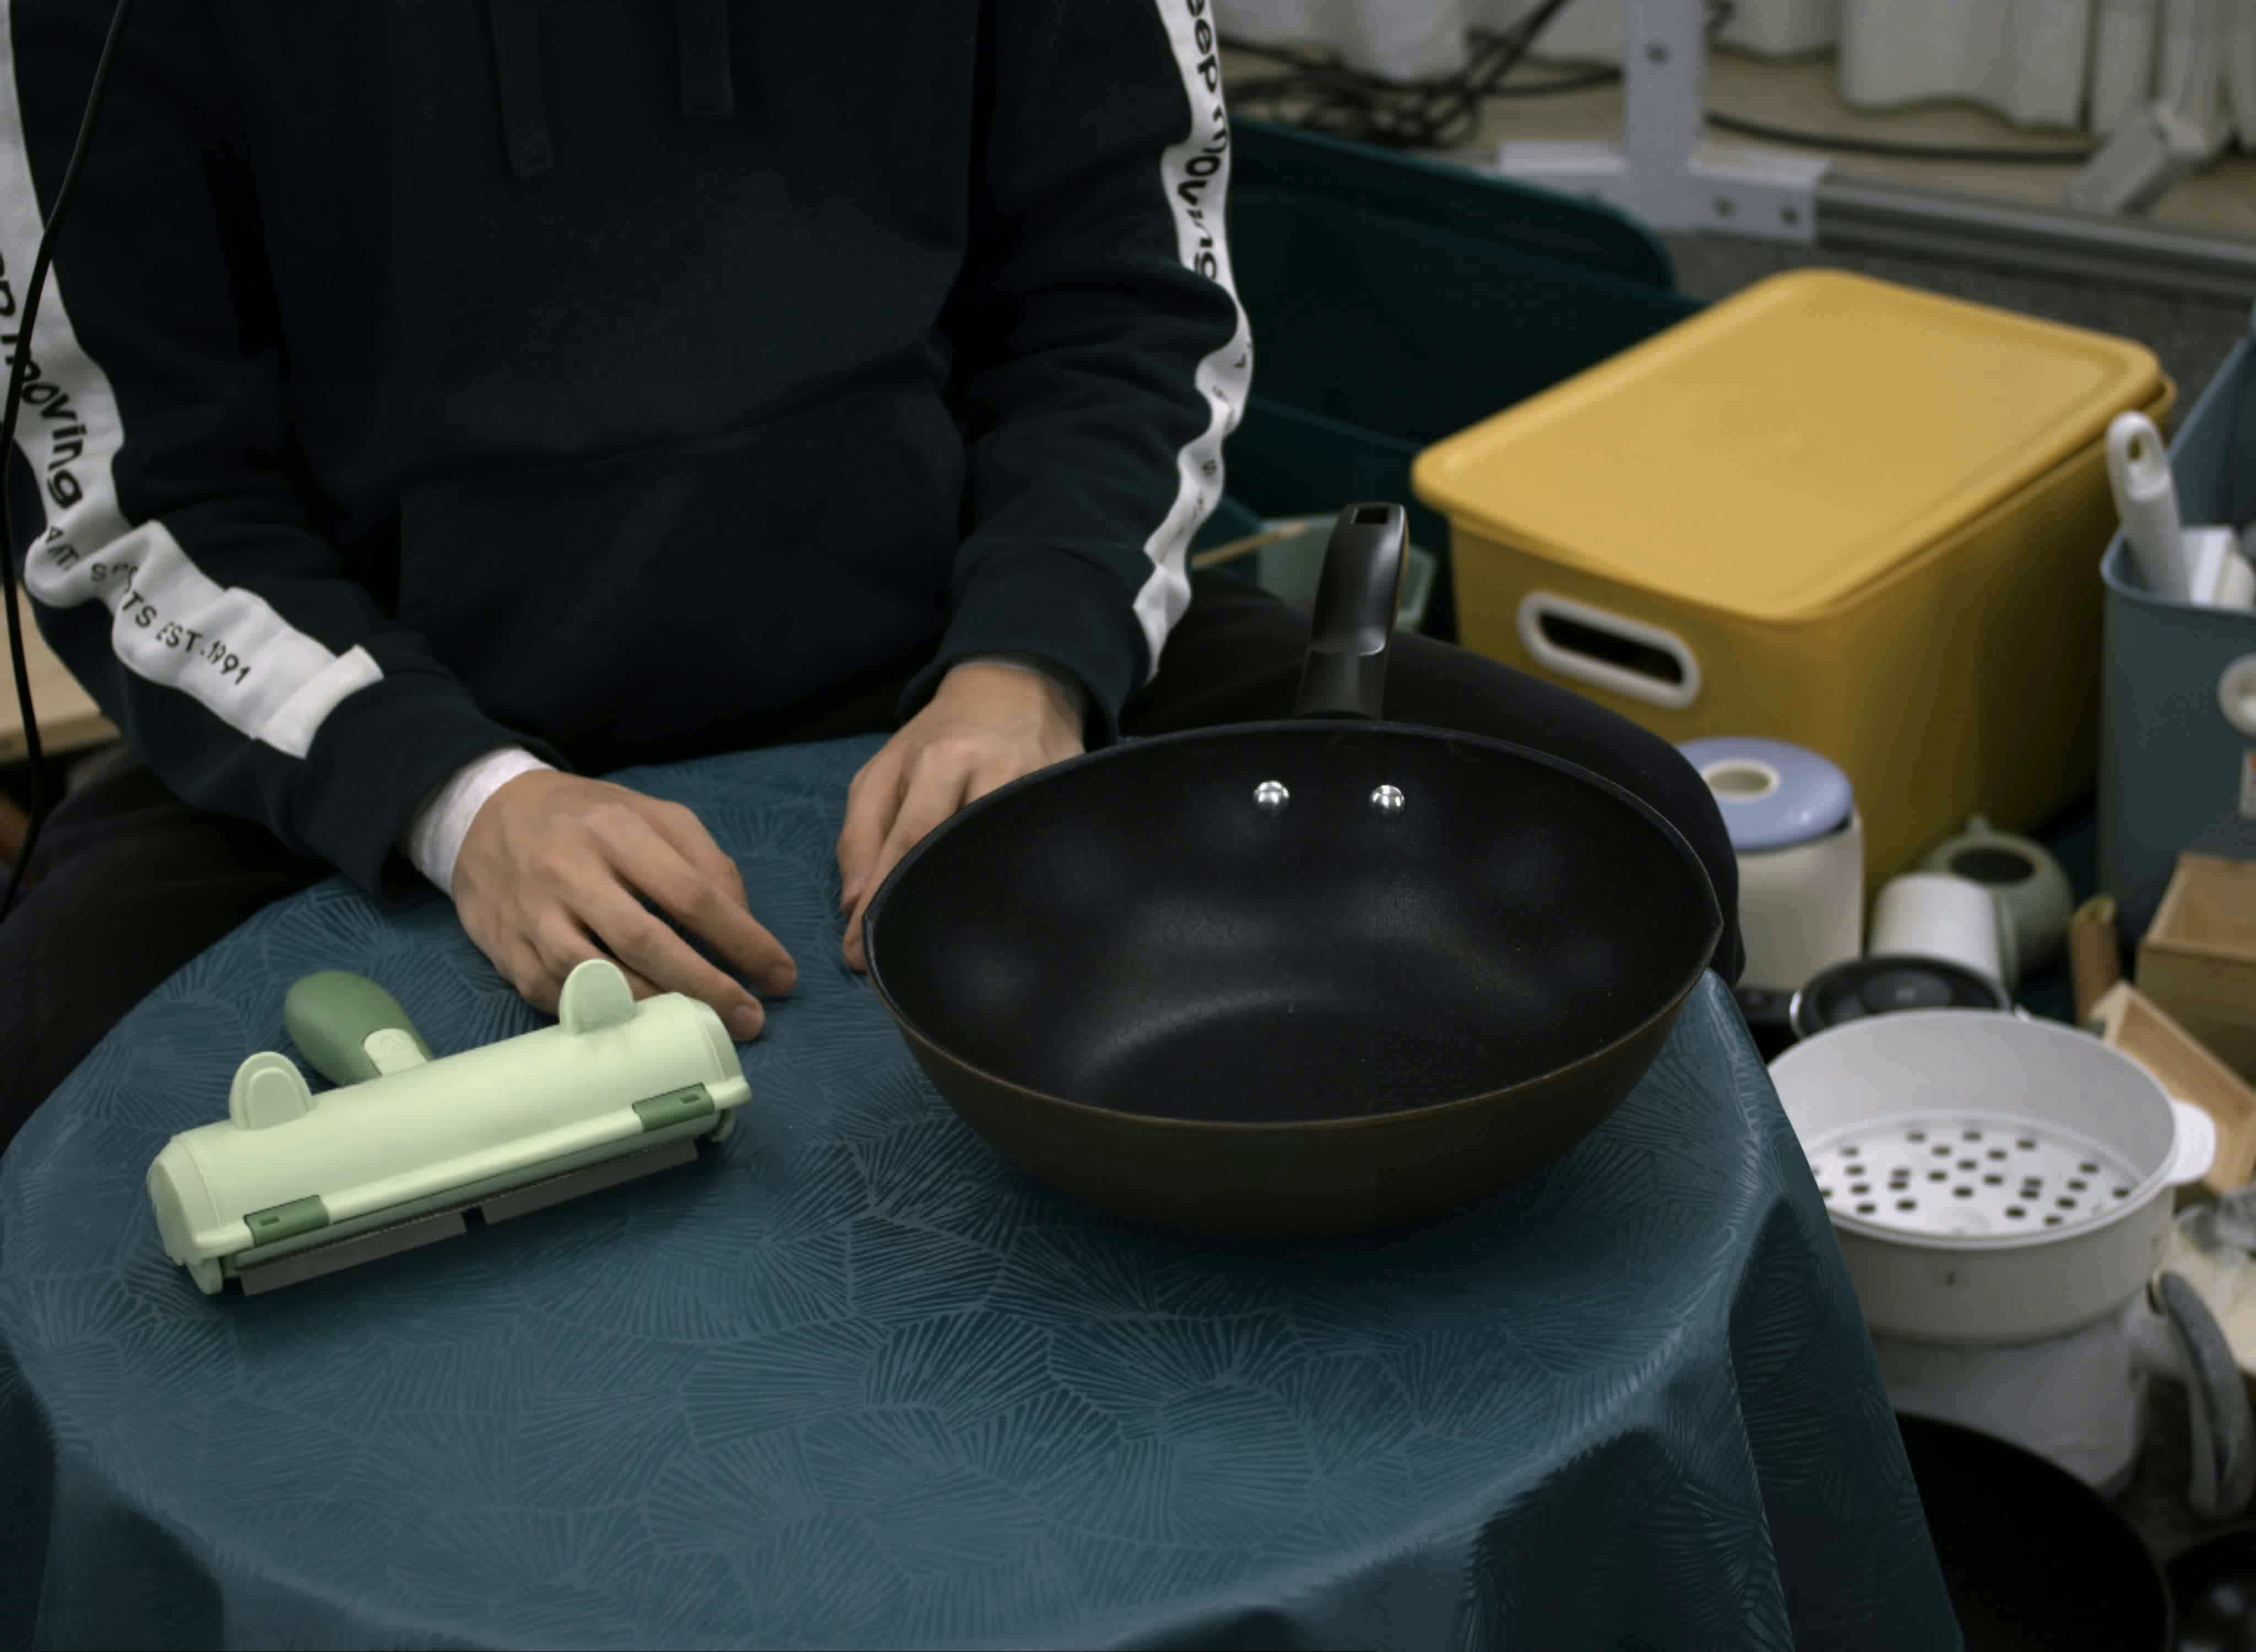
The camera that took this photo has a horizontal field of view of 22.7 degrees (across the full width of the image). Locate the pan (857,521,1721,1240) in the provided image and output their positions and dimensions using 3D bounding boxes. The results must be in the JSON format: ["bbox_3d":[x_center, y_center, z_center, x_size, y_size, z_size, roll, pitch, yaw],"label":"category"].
[{"bbox_3d":[0.064,0.020,1.959,0.286,0.086,0.471,1,27,7],"label":"pan"}]

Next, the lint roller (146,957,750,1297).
[{"bbox_3d":[-0.249,0.073,1.898,0.199,0.081,0.185,-16,35,-22],"label":"lint roller"}]
